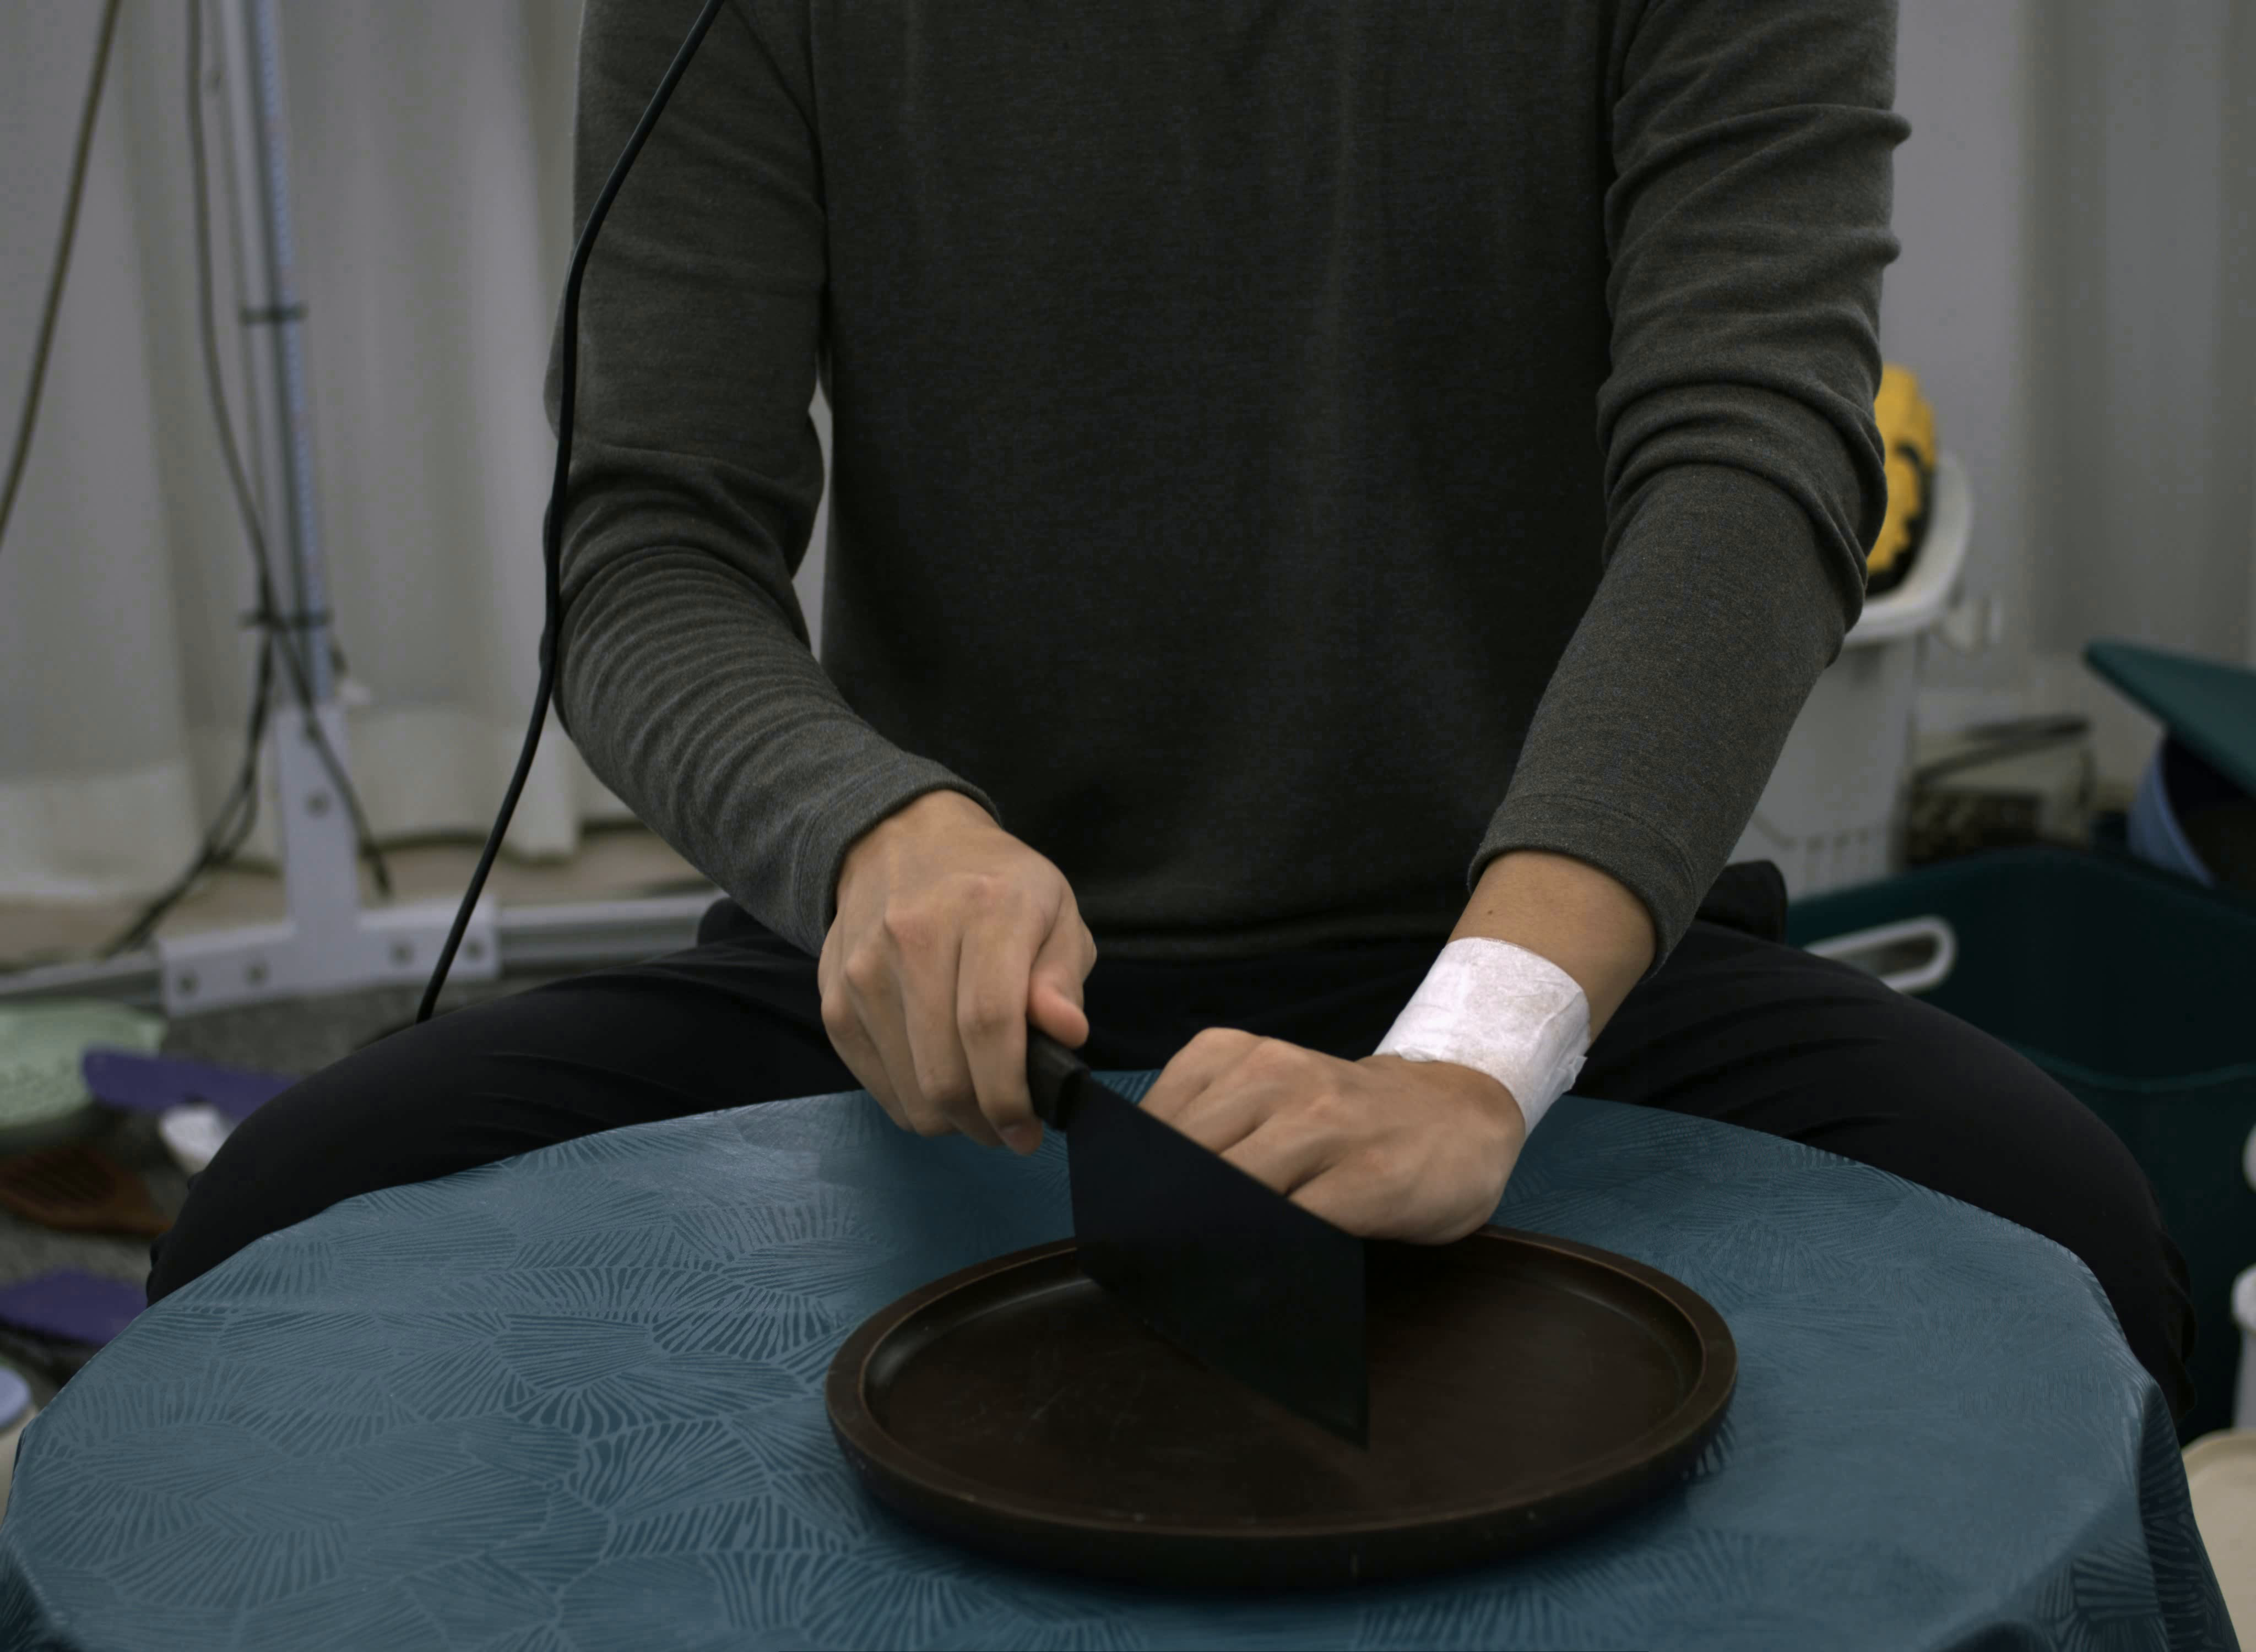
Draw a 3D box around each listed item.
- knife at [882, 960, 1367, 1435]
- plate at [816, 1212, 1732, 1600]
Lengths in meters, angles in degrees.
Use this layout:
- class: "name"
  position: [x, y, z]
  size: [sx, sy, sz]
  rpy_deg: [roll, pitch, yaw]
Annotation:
- class: "knife"
  position: [-0.003, 0.098, 1.559]
  size: [0.021, 0.080, 0.305]
  rpy_deg: [-9, 21, -24]
- class: "plate"
  position: [0.041, 0.157, 1.507]
  size: [0.254, 0.029, 0.256]
  rpy_deg: [-4, 15, 1]
